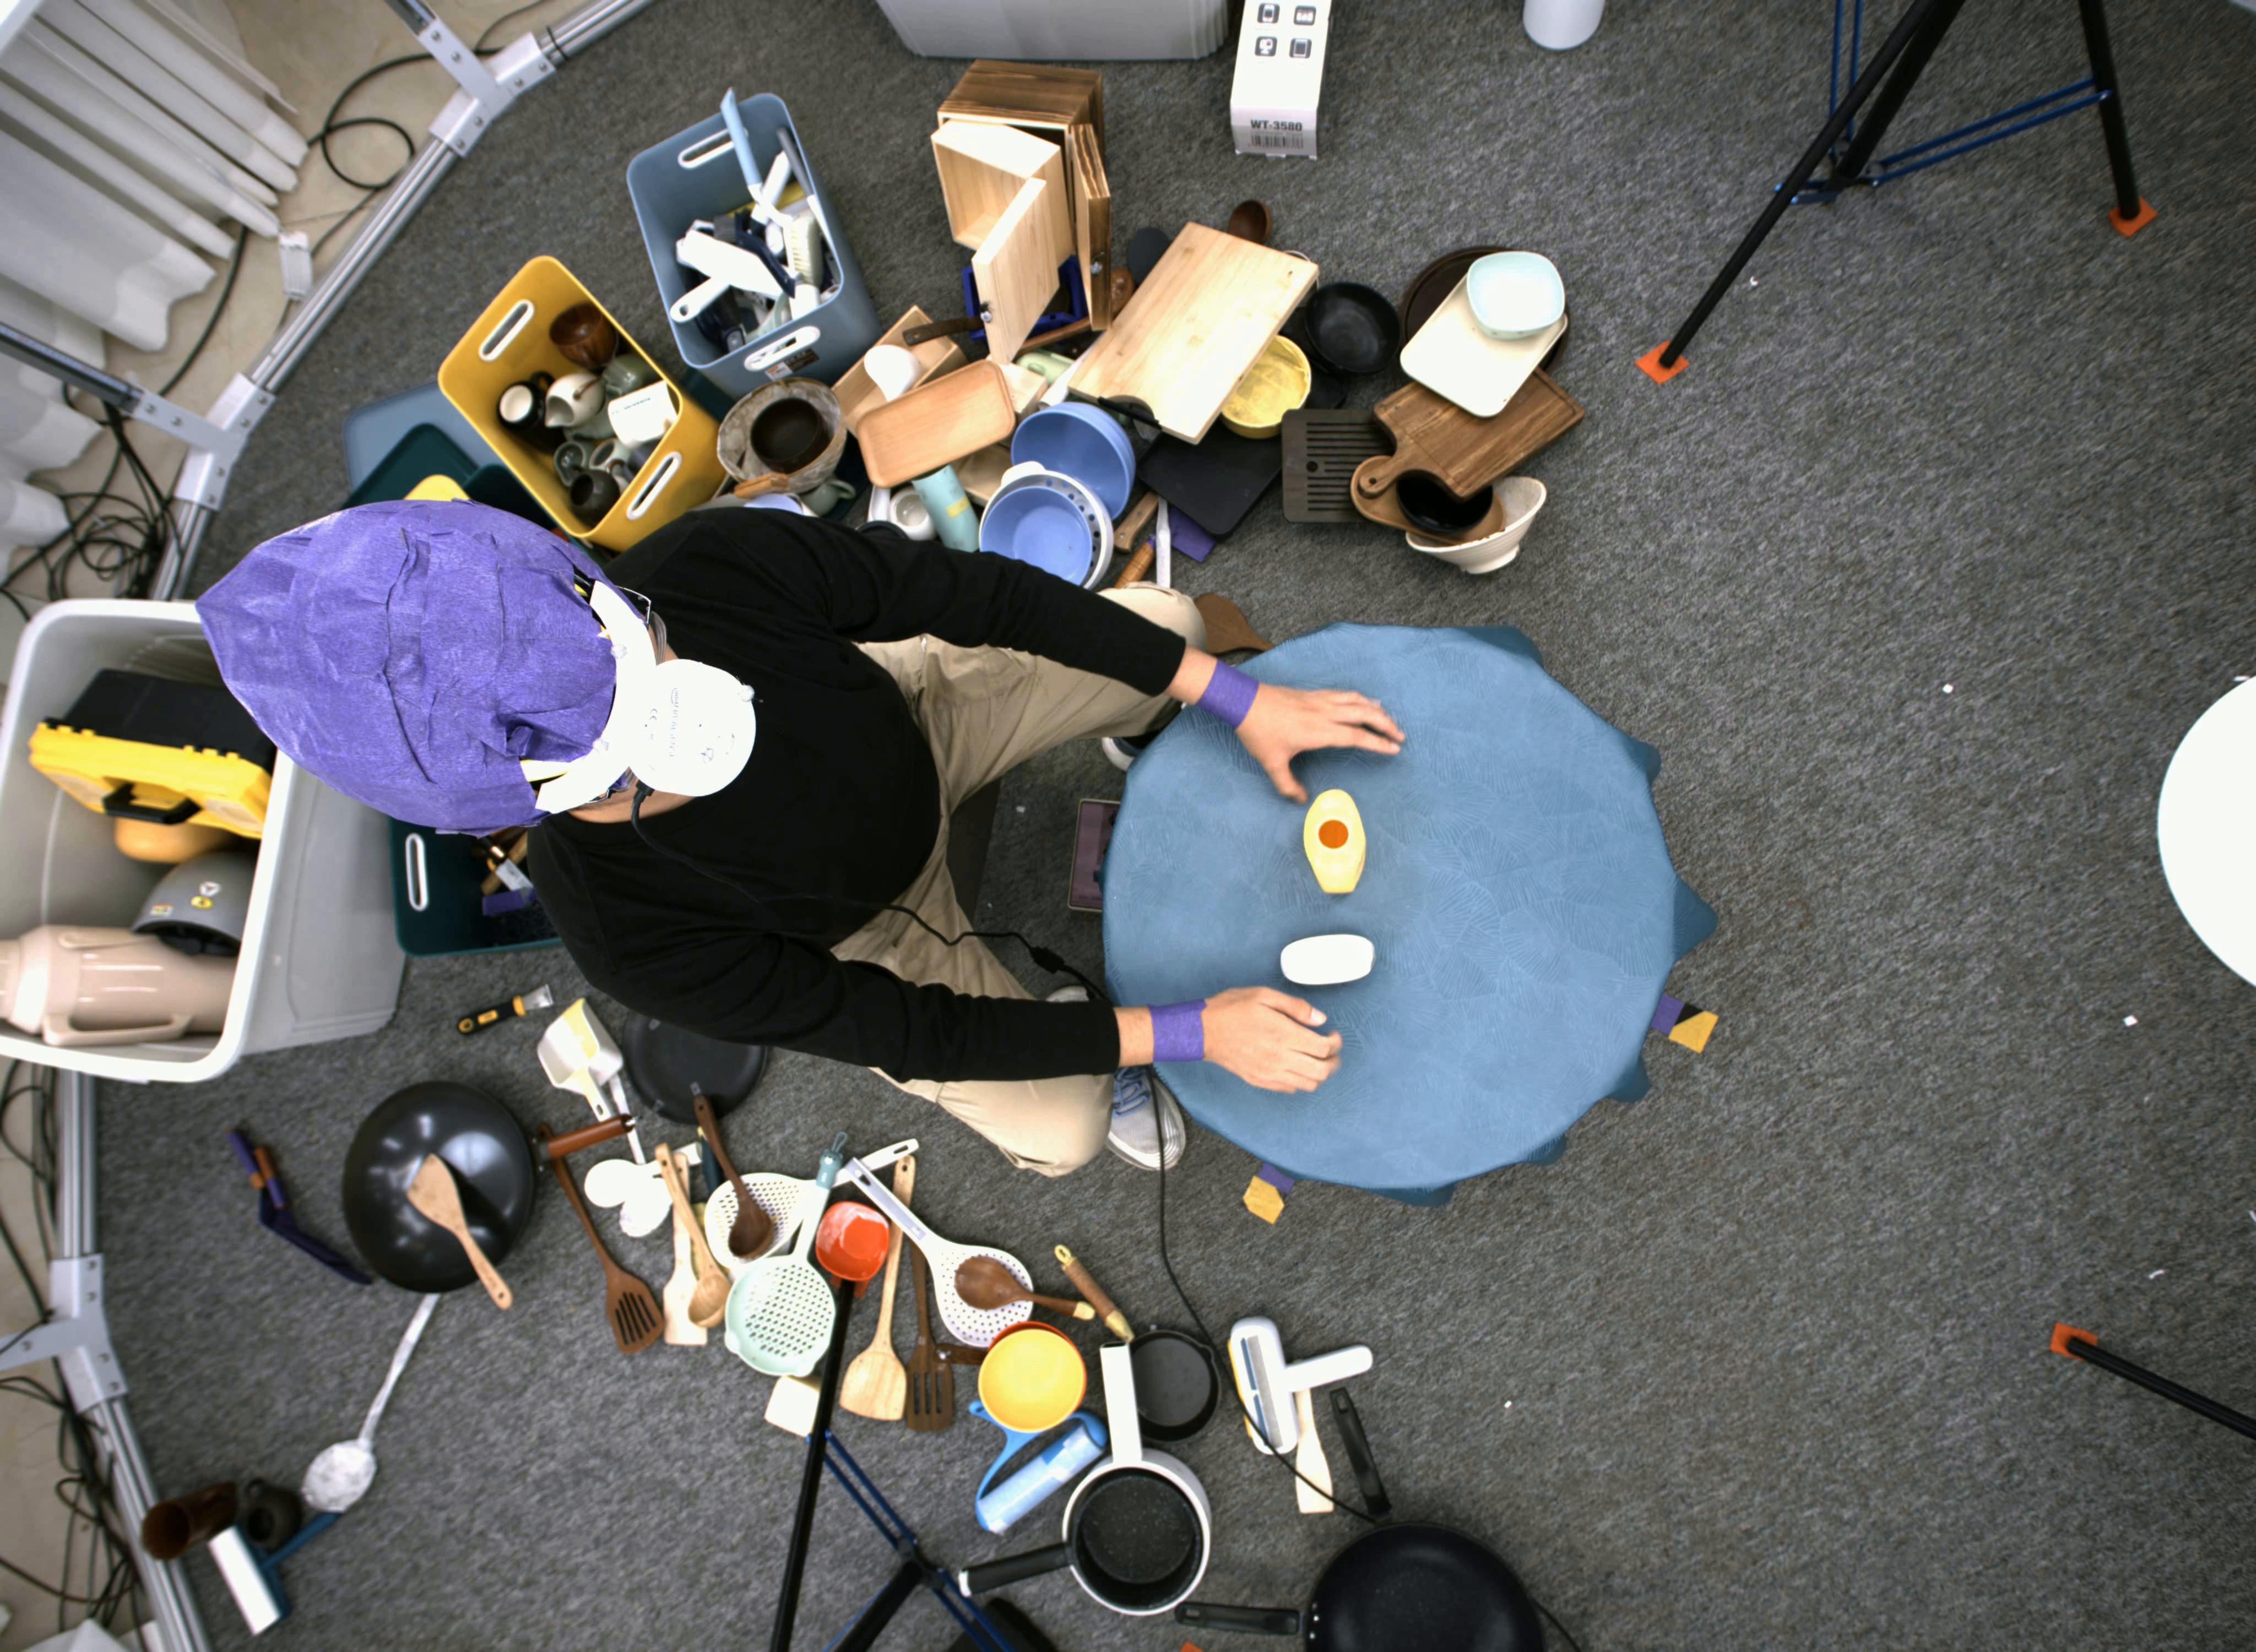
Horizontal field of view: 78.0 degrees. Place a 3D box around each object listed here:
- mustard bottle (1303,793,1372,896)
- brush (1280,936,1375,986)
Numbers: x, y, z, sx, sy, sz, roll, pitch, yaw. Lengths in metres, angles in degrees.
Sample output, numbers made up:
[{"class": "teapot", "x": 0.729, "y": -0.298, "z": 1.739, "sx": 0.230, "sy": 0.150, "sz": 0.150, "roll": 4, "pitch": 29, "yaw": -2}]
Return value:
[{"class": "mustard bottle", "x": 0.211, "y": 0.018, "z": 1.388, "sx": 0.059, "sy": 0.172, "sz": 0.098, "roll": -6, "pitch": 84, "yaw": 13}, {"class": "brush", "x": 0.206, "y": 0.138, "z": 1.429, "sx": 0.099, "sy": 0.073, "sz": 0.050, "roll": -4, "pitch": 83, "yaw": 9}]
